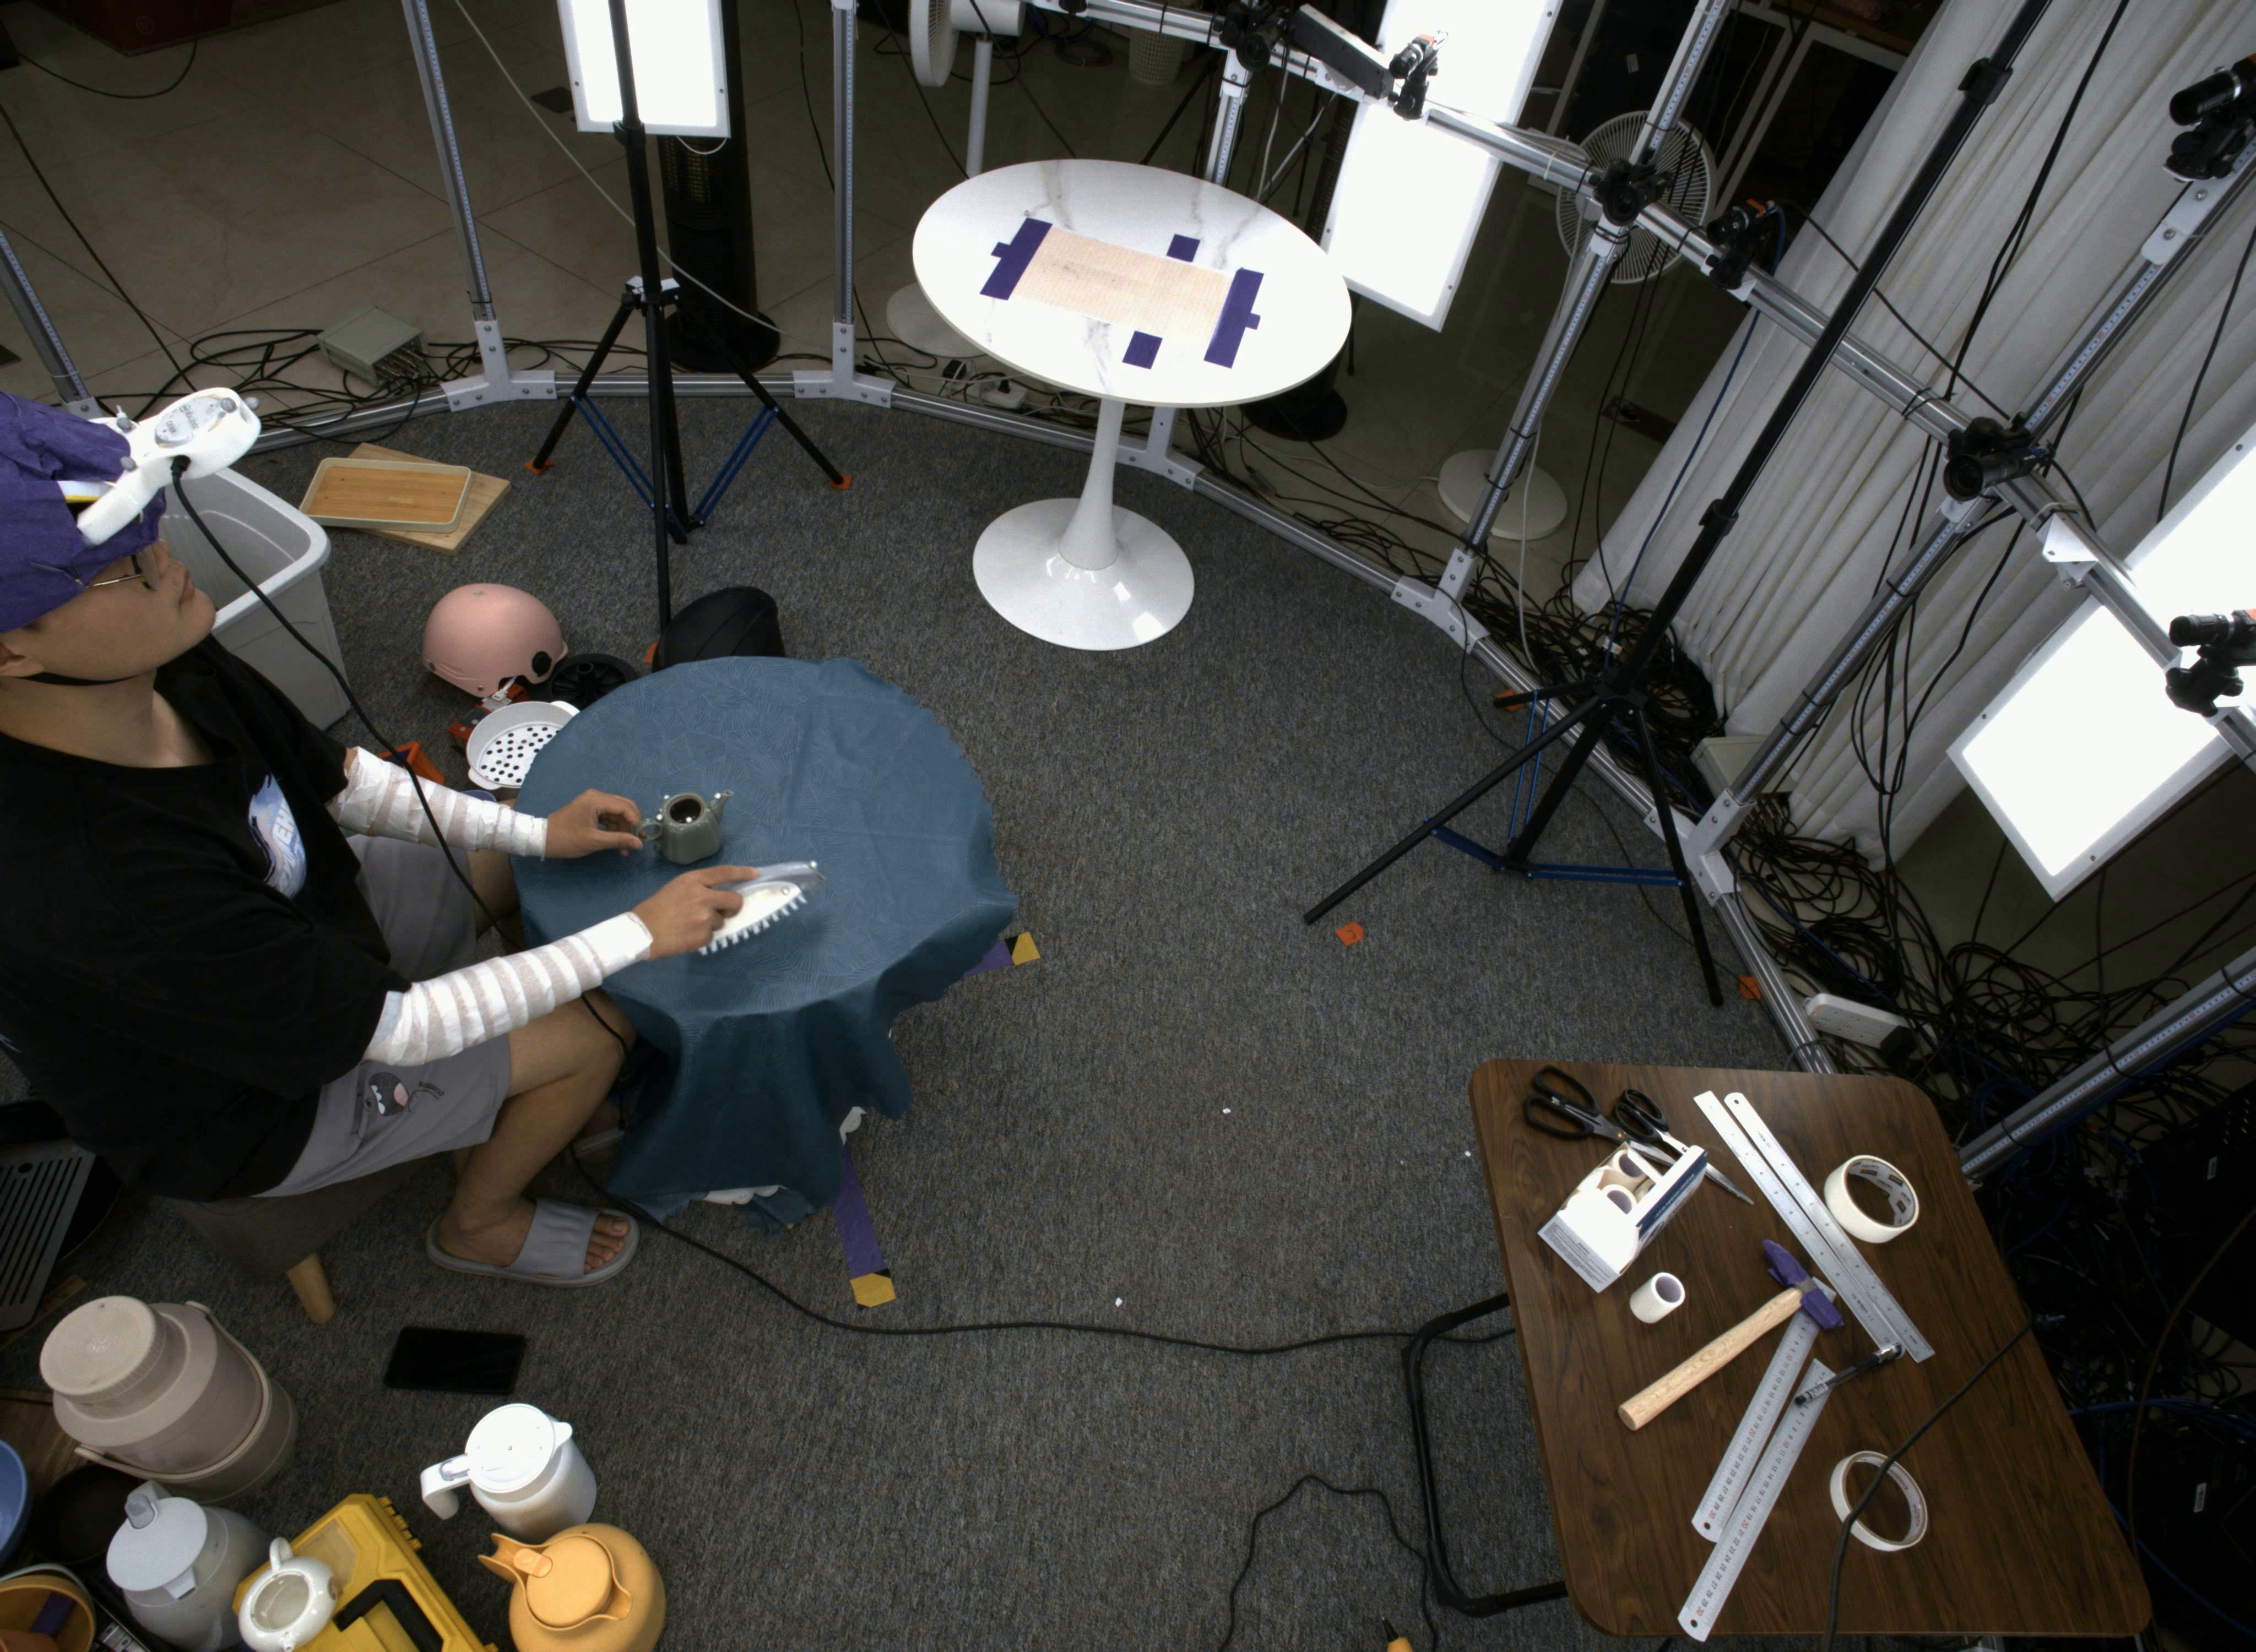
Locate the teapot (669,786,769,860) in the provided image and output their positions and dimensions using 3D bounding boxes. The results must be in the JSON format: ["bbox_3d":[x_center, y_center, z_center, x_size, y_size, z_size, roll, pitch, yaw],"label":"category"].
[{"bbox_3d":[-0.525,-0.008,1.669,0.133,0.077,0.077,-20,58,-24],"label":"teapot"}]

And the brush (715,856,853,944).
[{"bbox_3d":[-0.418,0.072,1.576,0.176,0.095,0.060,-24,69,-21],"label":"brush"}]
